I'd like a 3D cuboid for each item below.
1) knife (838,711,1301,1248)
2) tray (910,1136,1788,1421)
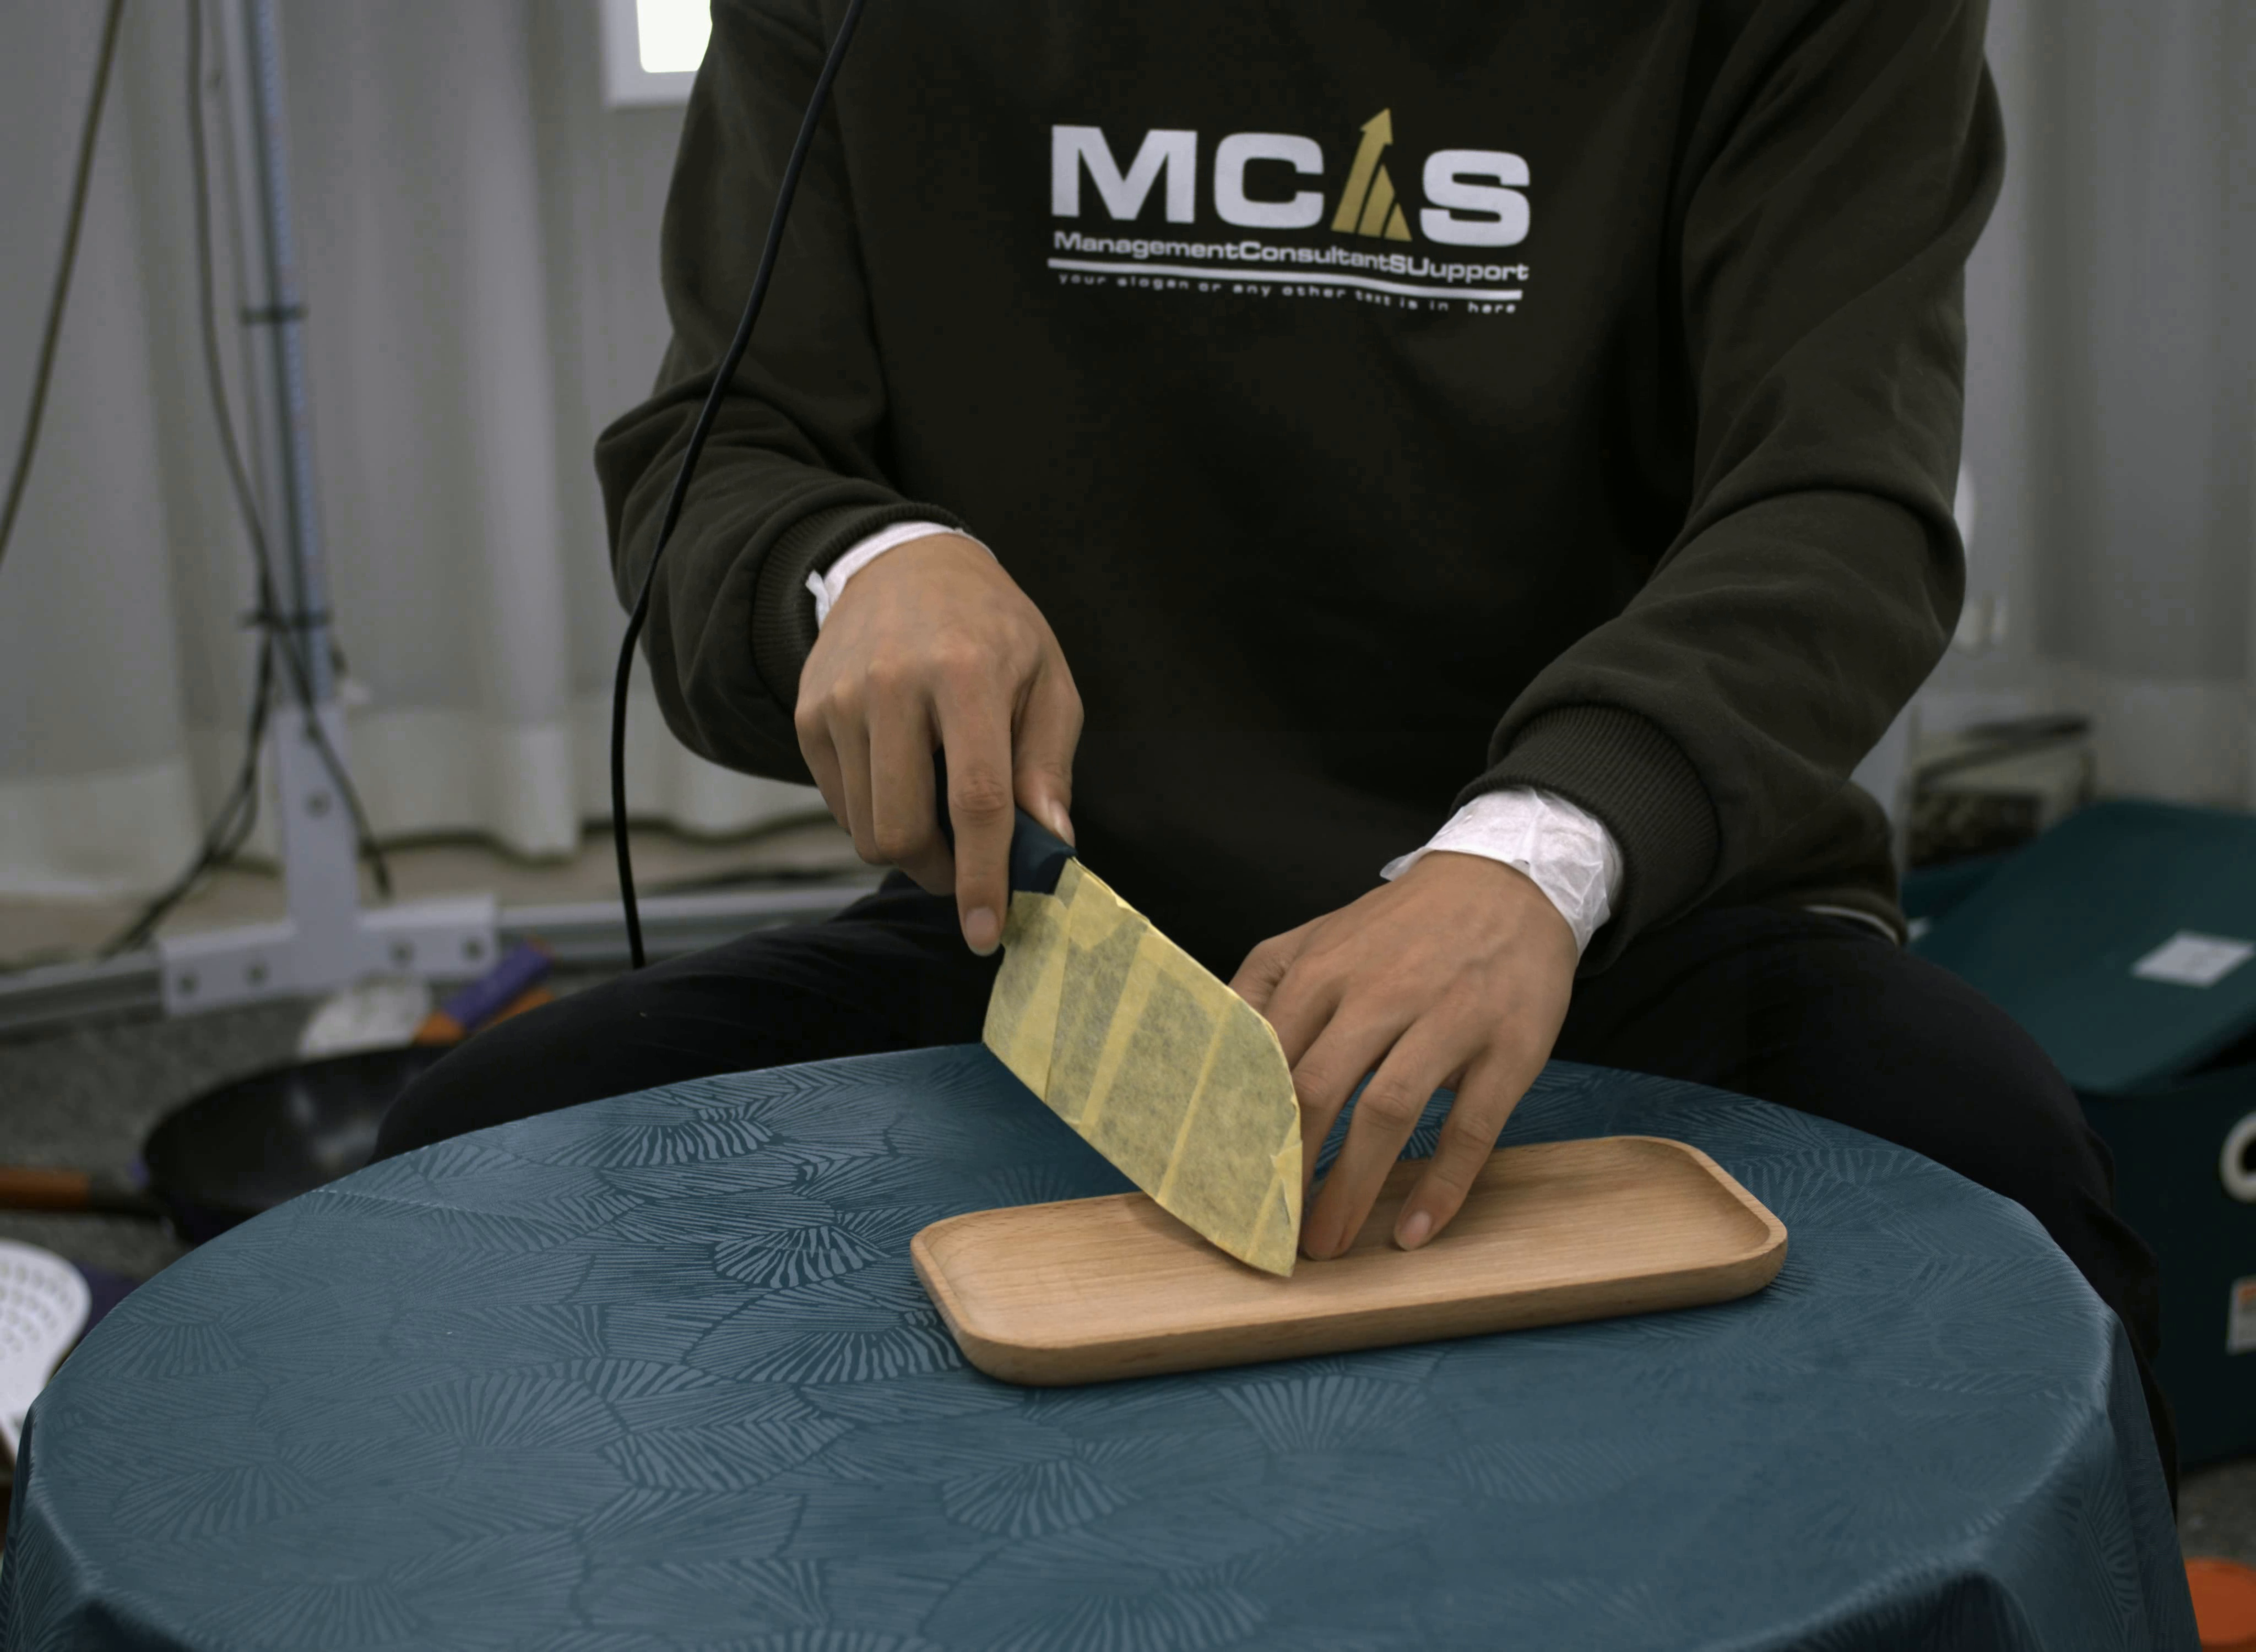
[{"bbox_3d":[-0.022,0.044,1.703,0.027,0.080,0.293,10,22,-37],"label":"knife"},{"bbox_3d":[0.065,0.133,1.622,0.250,0.023,0.131,-9,13,-11],"label":"tray"}]
